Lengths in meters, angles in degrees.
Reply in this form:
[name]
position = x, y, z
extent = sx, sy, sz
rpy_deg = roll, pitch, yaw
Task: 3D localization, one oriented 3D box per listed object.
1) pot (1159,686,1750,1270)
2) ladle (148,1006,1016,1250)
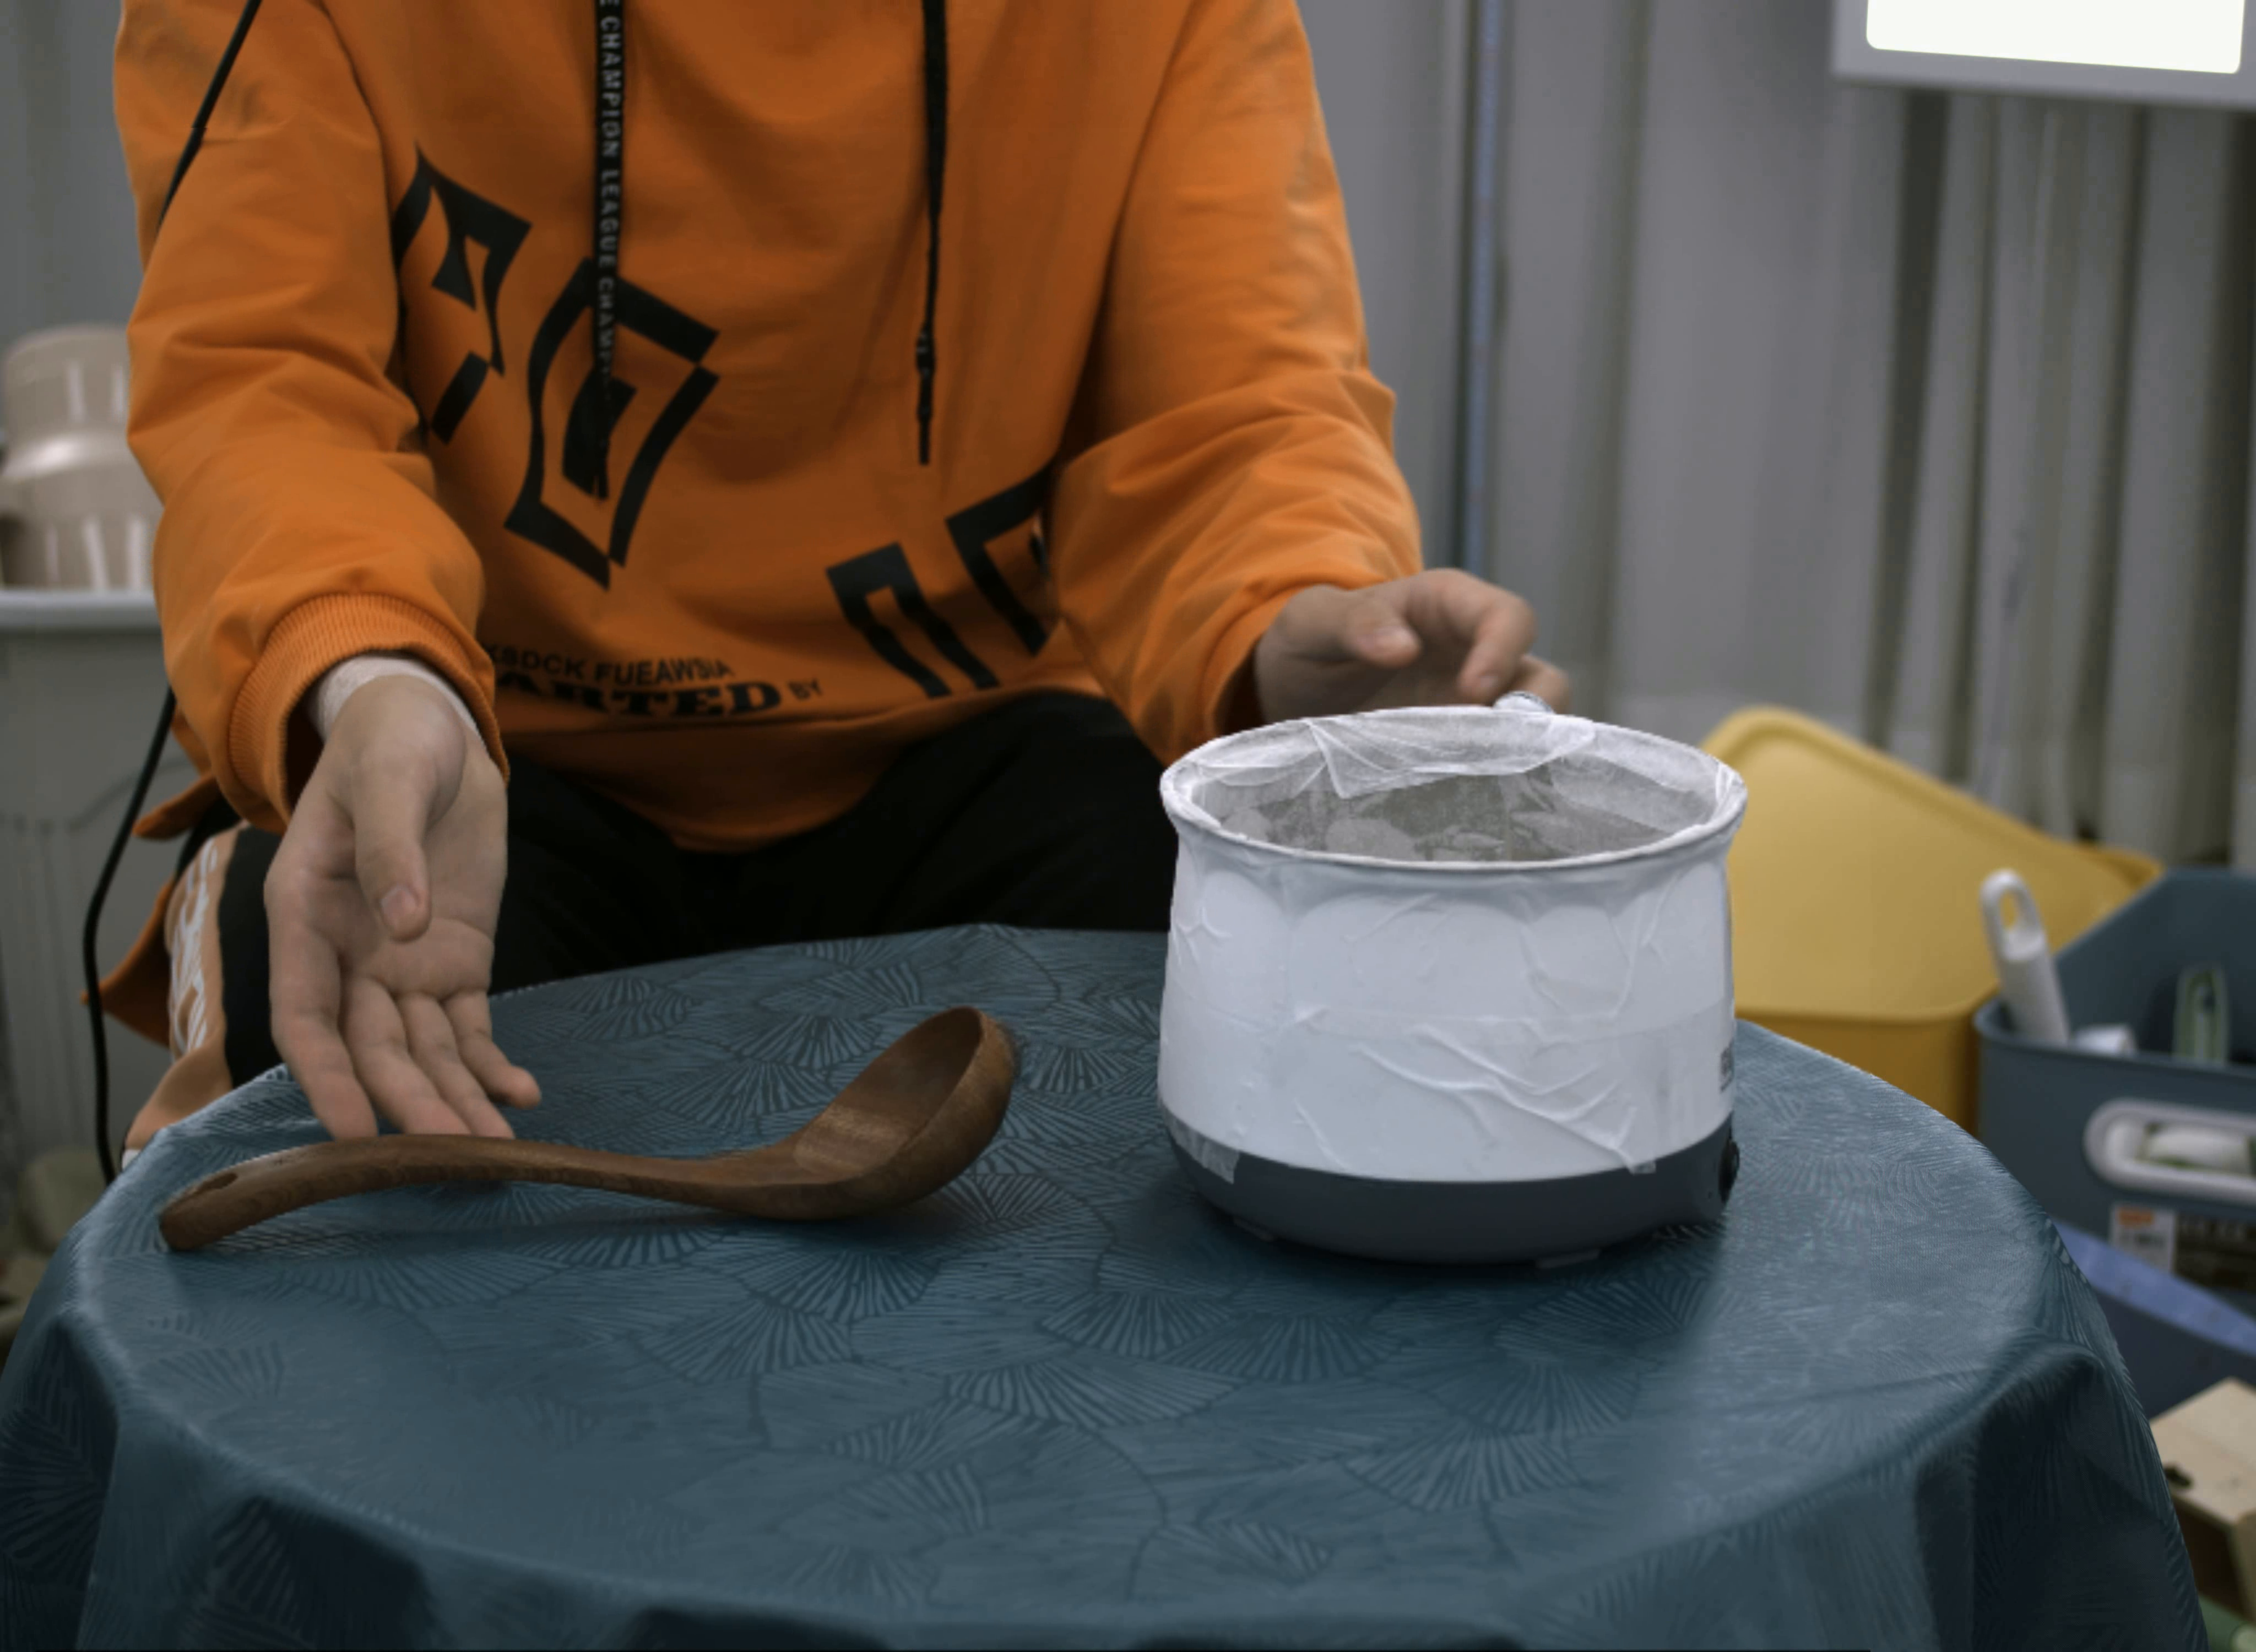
[pot]
position = 0.104, 0.040, 1.625
extent = 0.177, 0.138, 0.233
rpy_deg = 5, 17, 13
[ladle]
position = -0.163, 0.090, 1.578
extent = 0.260, 0.065, 0.076
rpy_deg = -1, 13, -8
